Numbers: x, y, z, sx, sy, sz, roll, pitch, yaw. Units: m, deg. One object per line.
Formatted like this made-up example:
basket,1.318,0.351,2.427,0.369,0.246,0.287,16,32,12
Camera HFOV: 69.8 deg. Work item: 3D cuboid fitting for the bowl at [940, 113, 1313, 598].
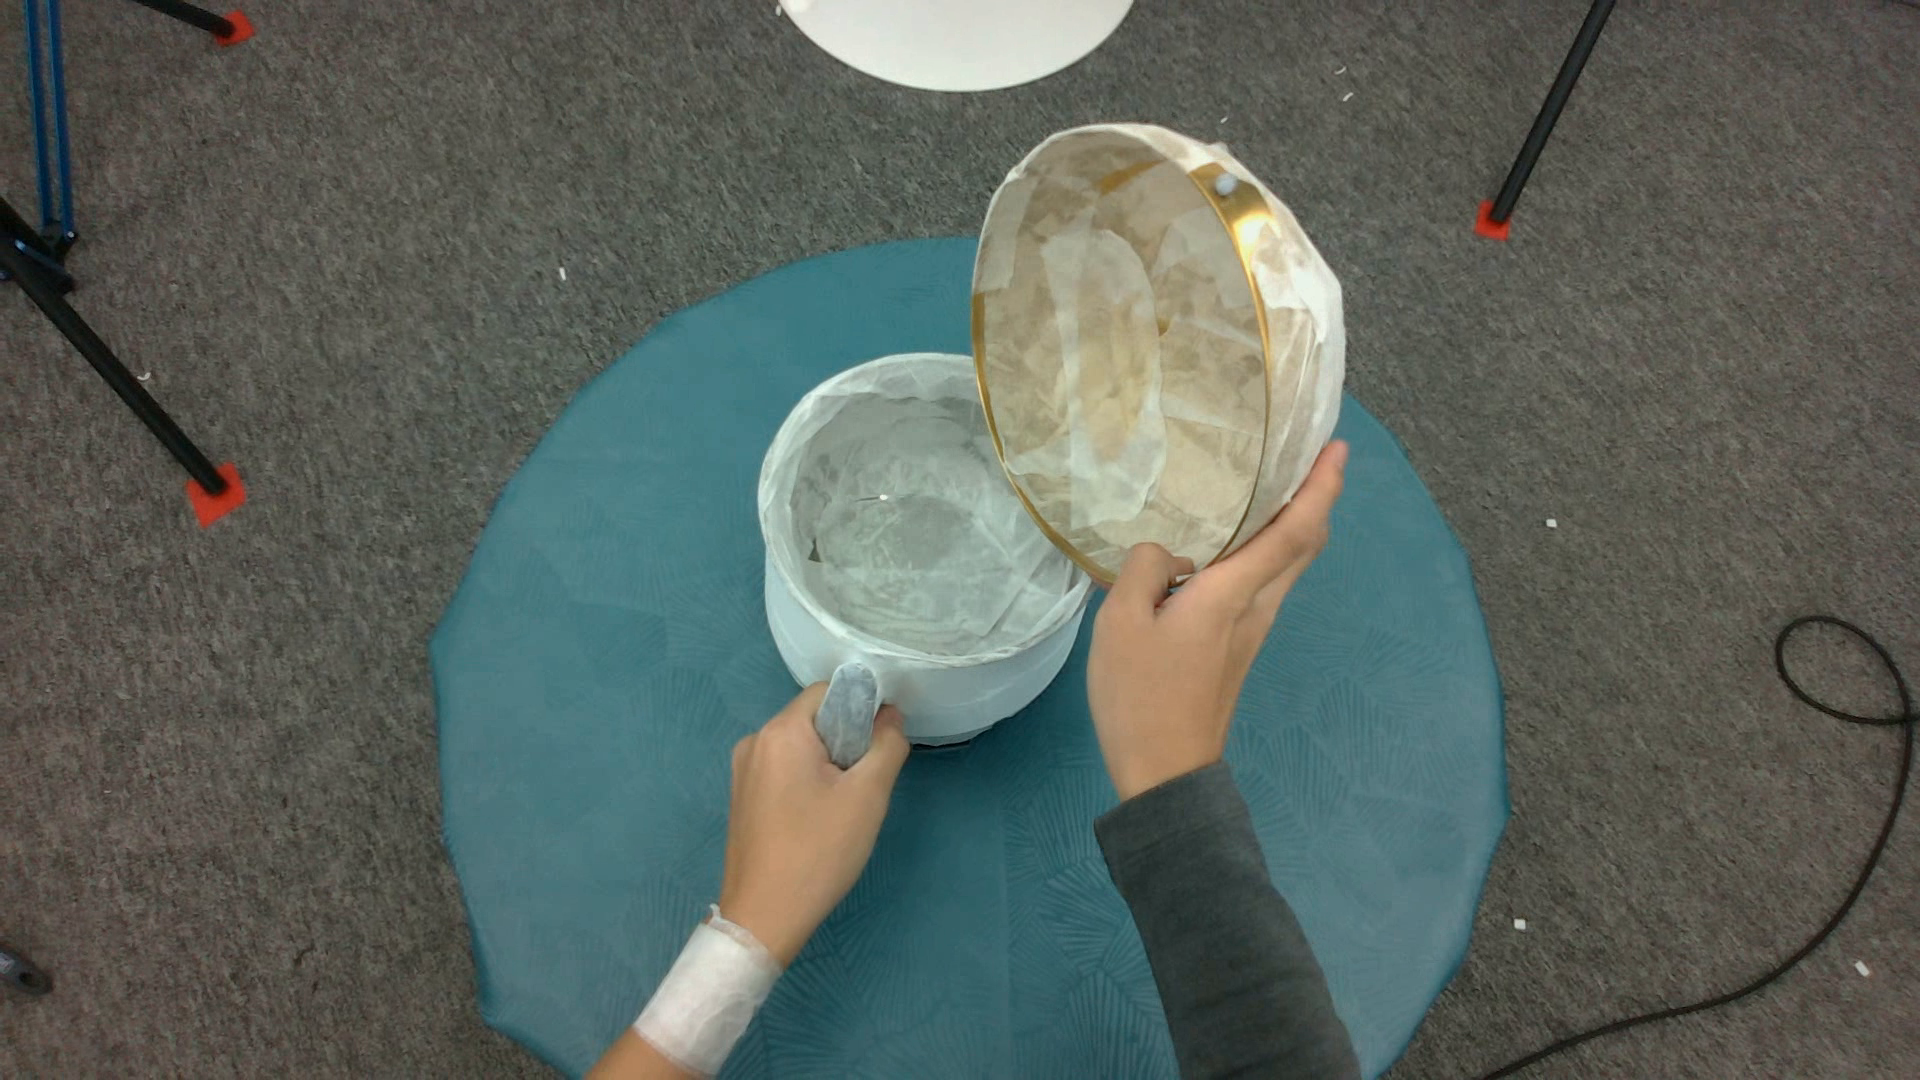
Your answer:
bowl,0.086,-0.088,0.626,0.095,0.213,0.215,-18,65,-34

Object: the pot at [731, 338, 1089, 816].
pot,-0.040,0.025,0.719,0.178,0.136,0.235,21,62,4
